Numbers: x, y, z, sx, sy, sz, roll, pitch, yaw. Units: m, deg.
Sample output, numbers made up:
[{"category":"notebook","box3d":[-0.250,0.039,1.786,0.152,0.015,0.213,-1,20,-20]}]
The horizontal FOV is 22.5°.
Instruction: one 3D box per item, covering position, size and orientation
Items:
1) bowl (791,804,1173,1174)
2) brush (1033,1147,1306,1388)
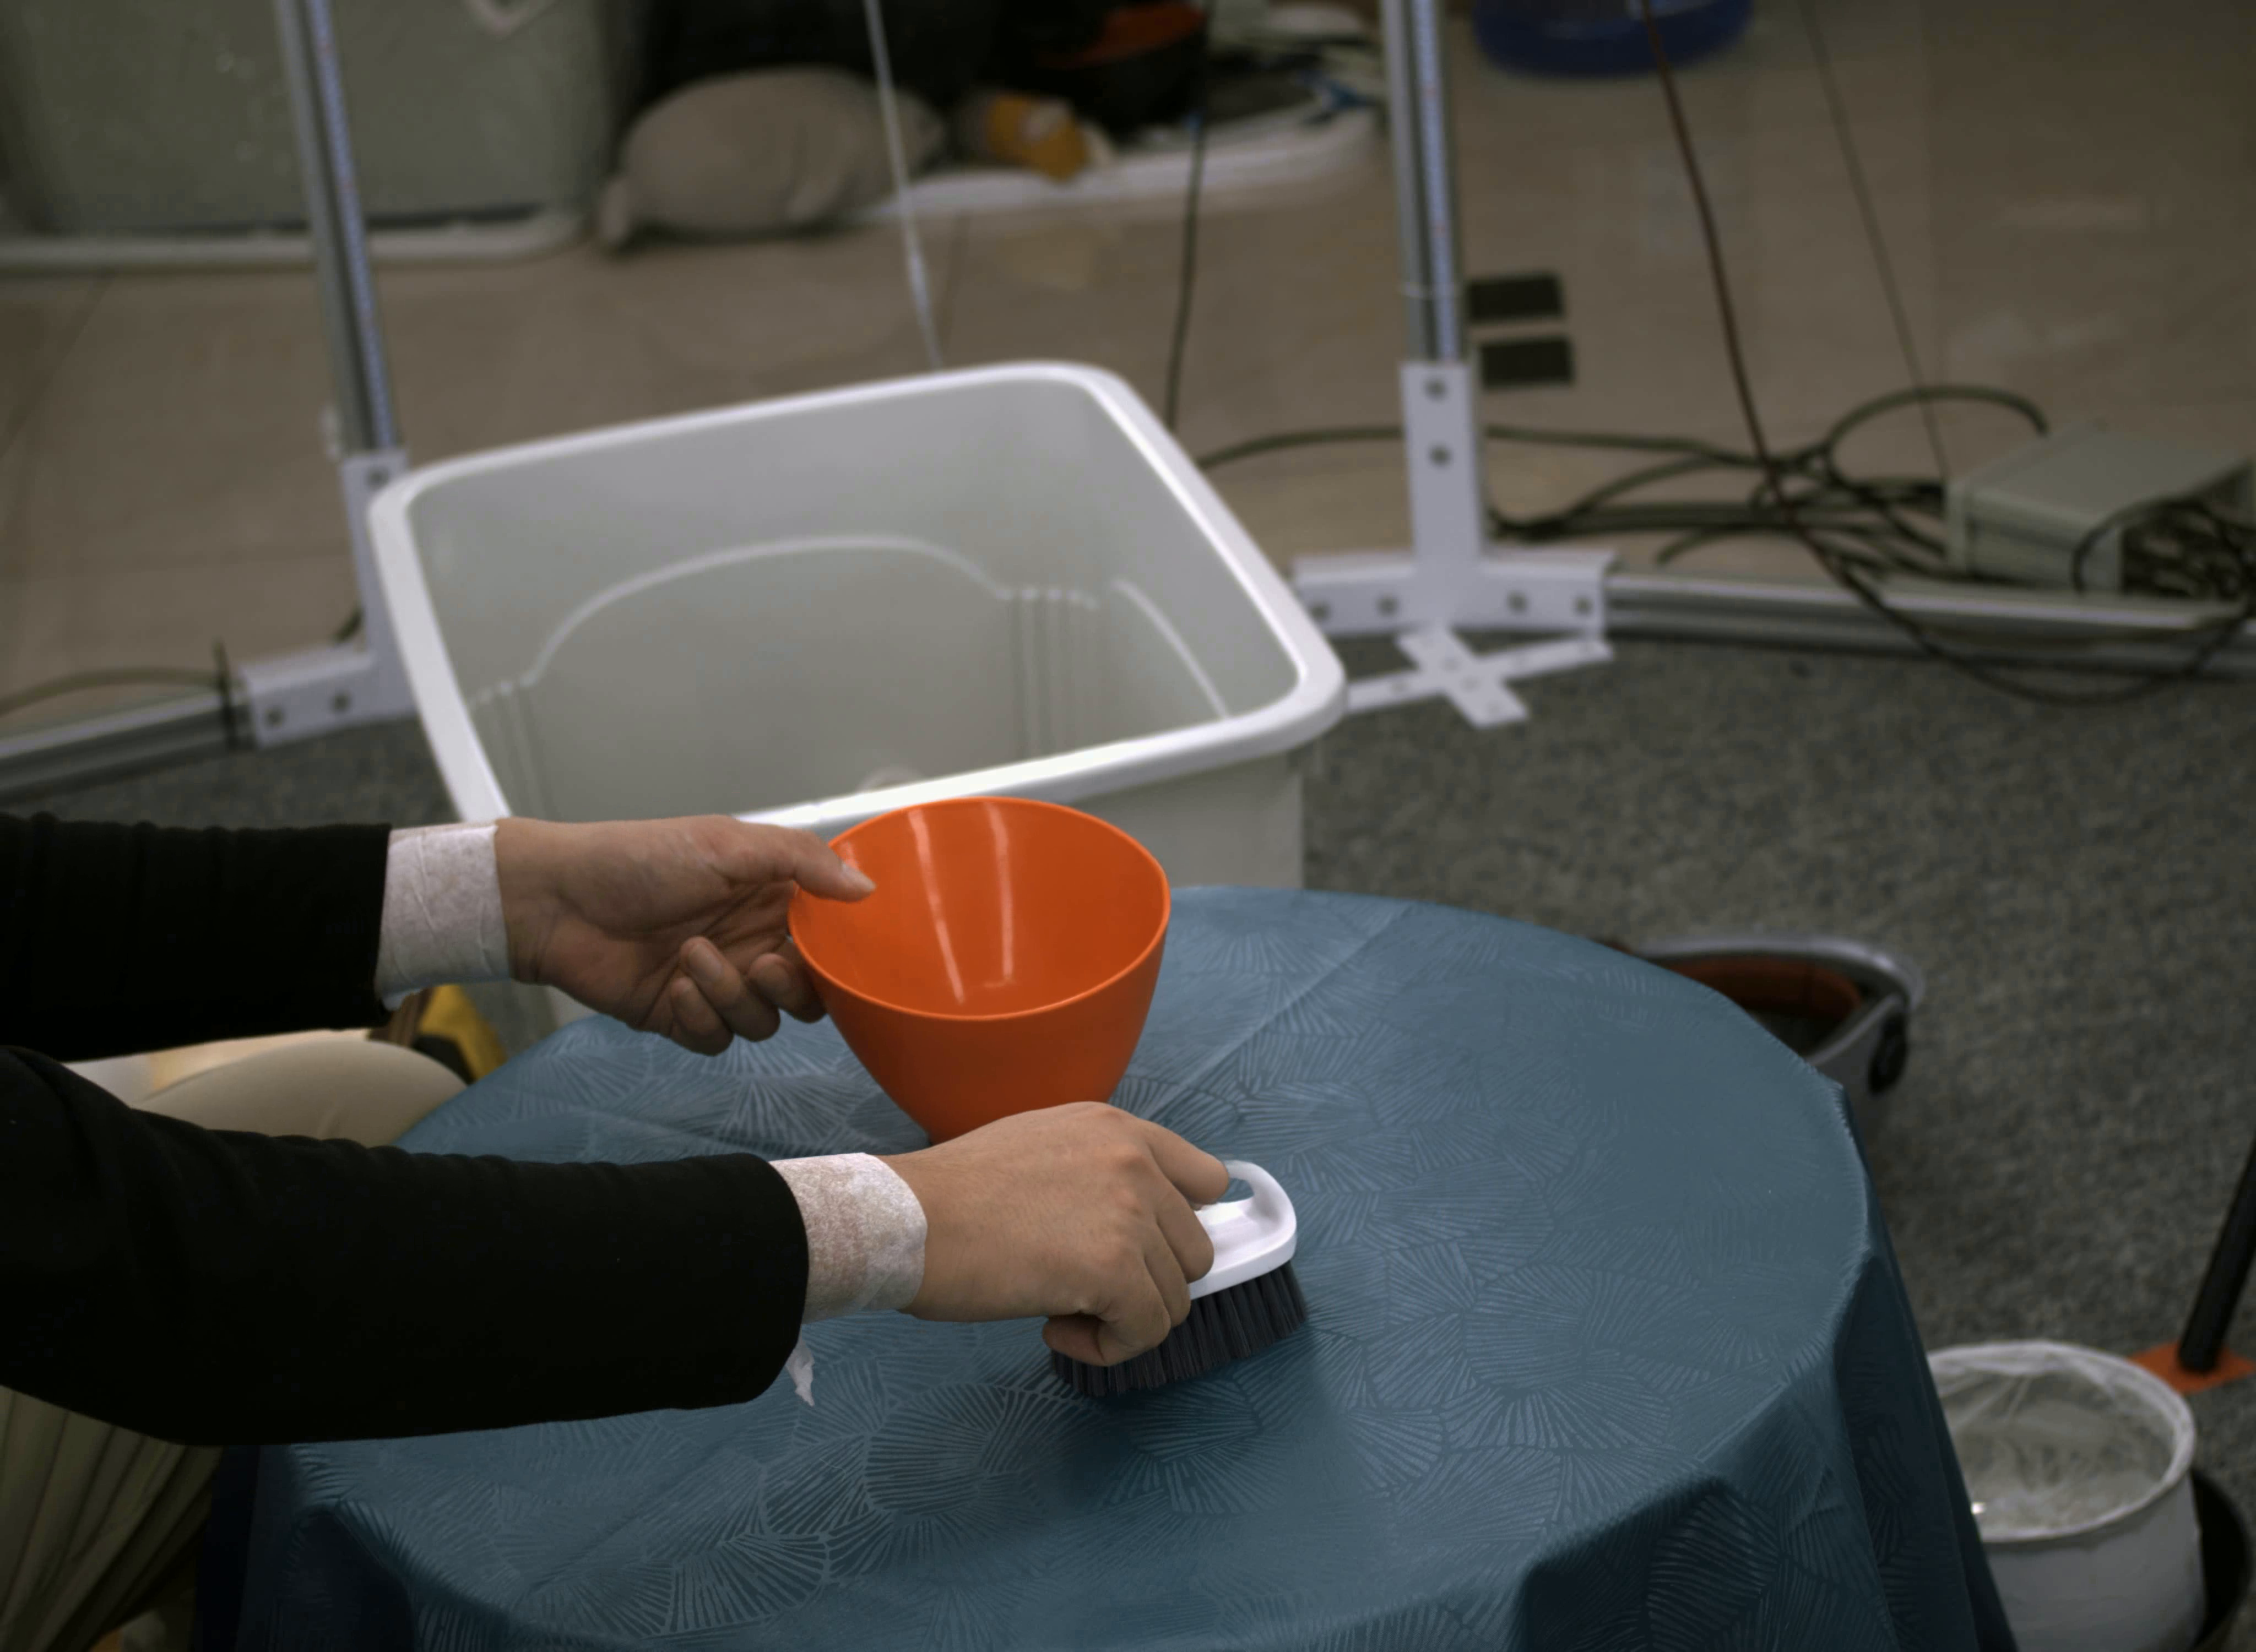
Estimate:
[{"category":"bowl","box3d":[-0.052,0.069,2.194,0.148,0.106,0.146,-5,27,3]},{"category":"brush","box3d":[0.013,0.152,2.028,0.099,0.074,0.049,-16,28,-18]}]
